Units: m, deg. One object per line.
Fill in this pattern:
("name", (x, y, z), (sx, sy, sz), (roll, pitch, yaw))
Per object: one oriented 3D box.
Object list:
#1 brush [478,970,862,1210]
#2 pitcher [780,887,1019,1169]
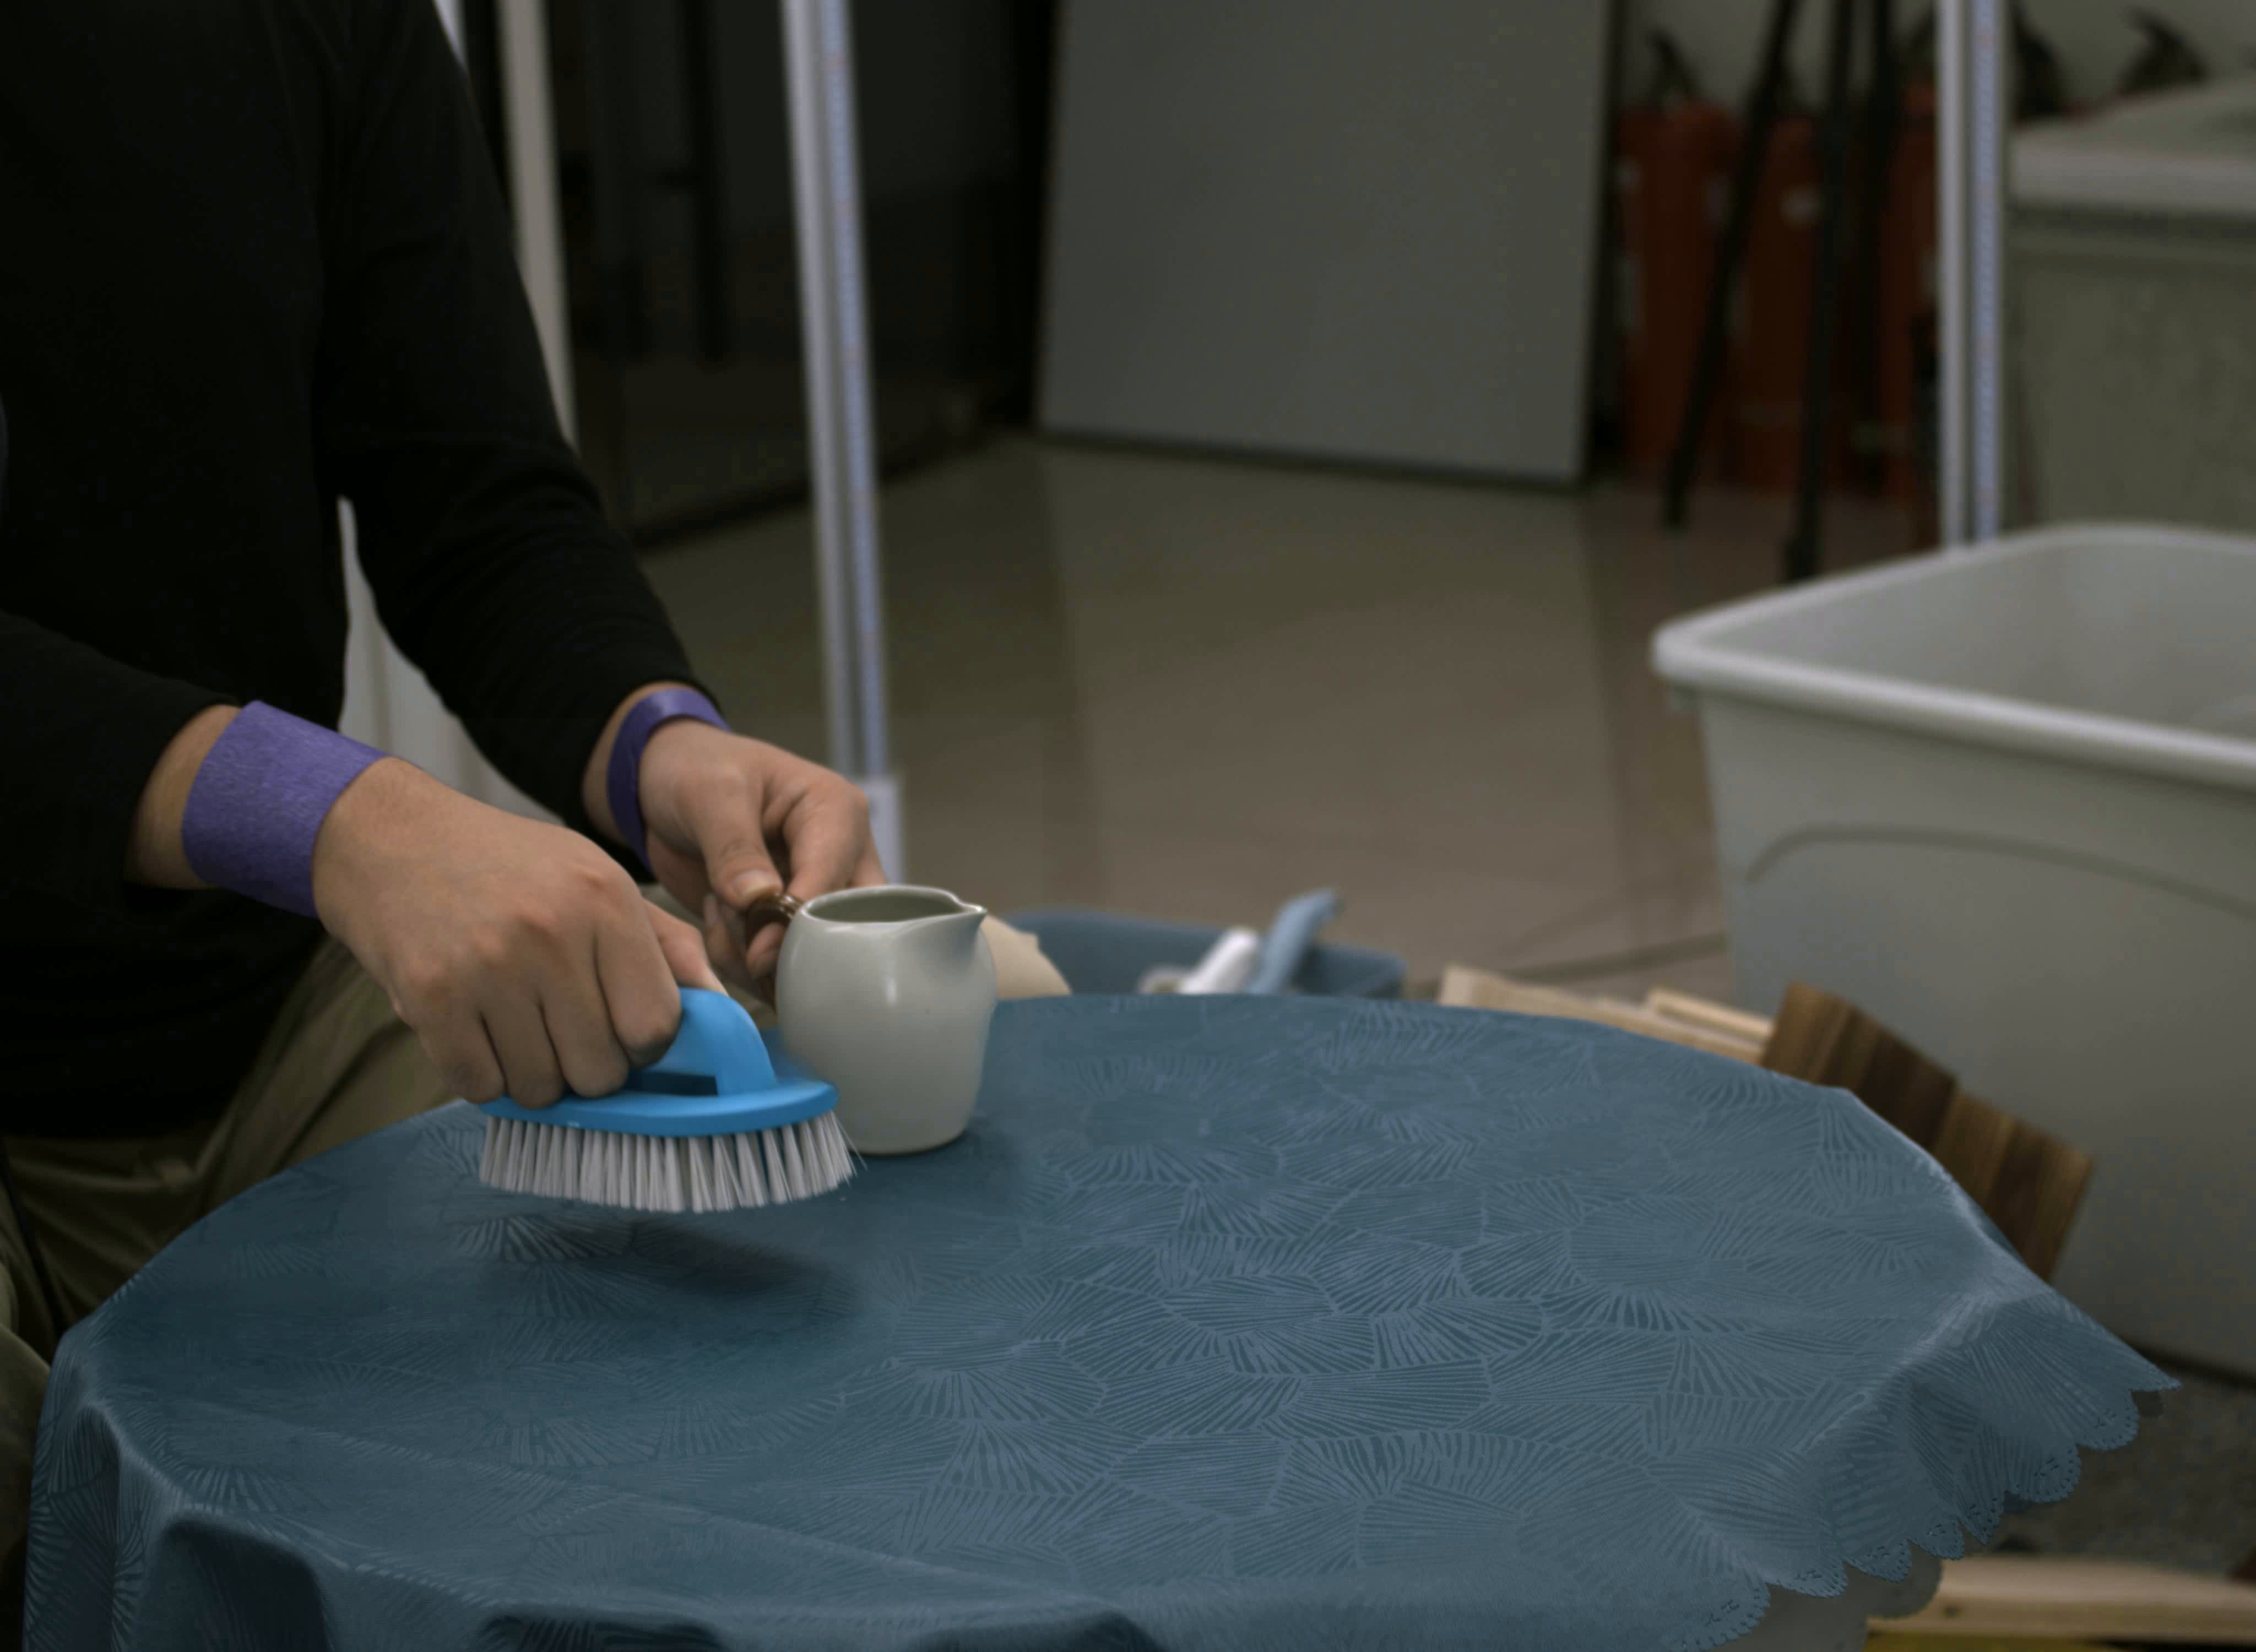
("brush", (-0.150, 0.079, 1.722), (0.143, 0.064, 0.082), (1, 15, 45))
("pitcher", (-0.080, 0.066, 1.832), (0.074, 0.089, 0.120), (-8, 16, -41))
